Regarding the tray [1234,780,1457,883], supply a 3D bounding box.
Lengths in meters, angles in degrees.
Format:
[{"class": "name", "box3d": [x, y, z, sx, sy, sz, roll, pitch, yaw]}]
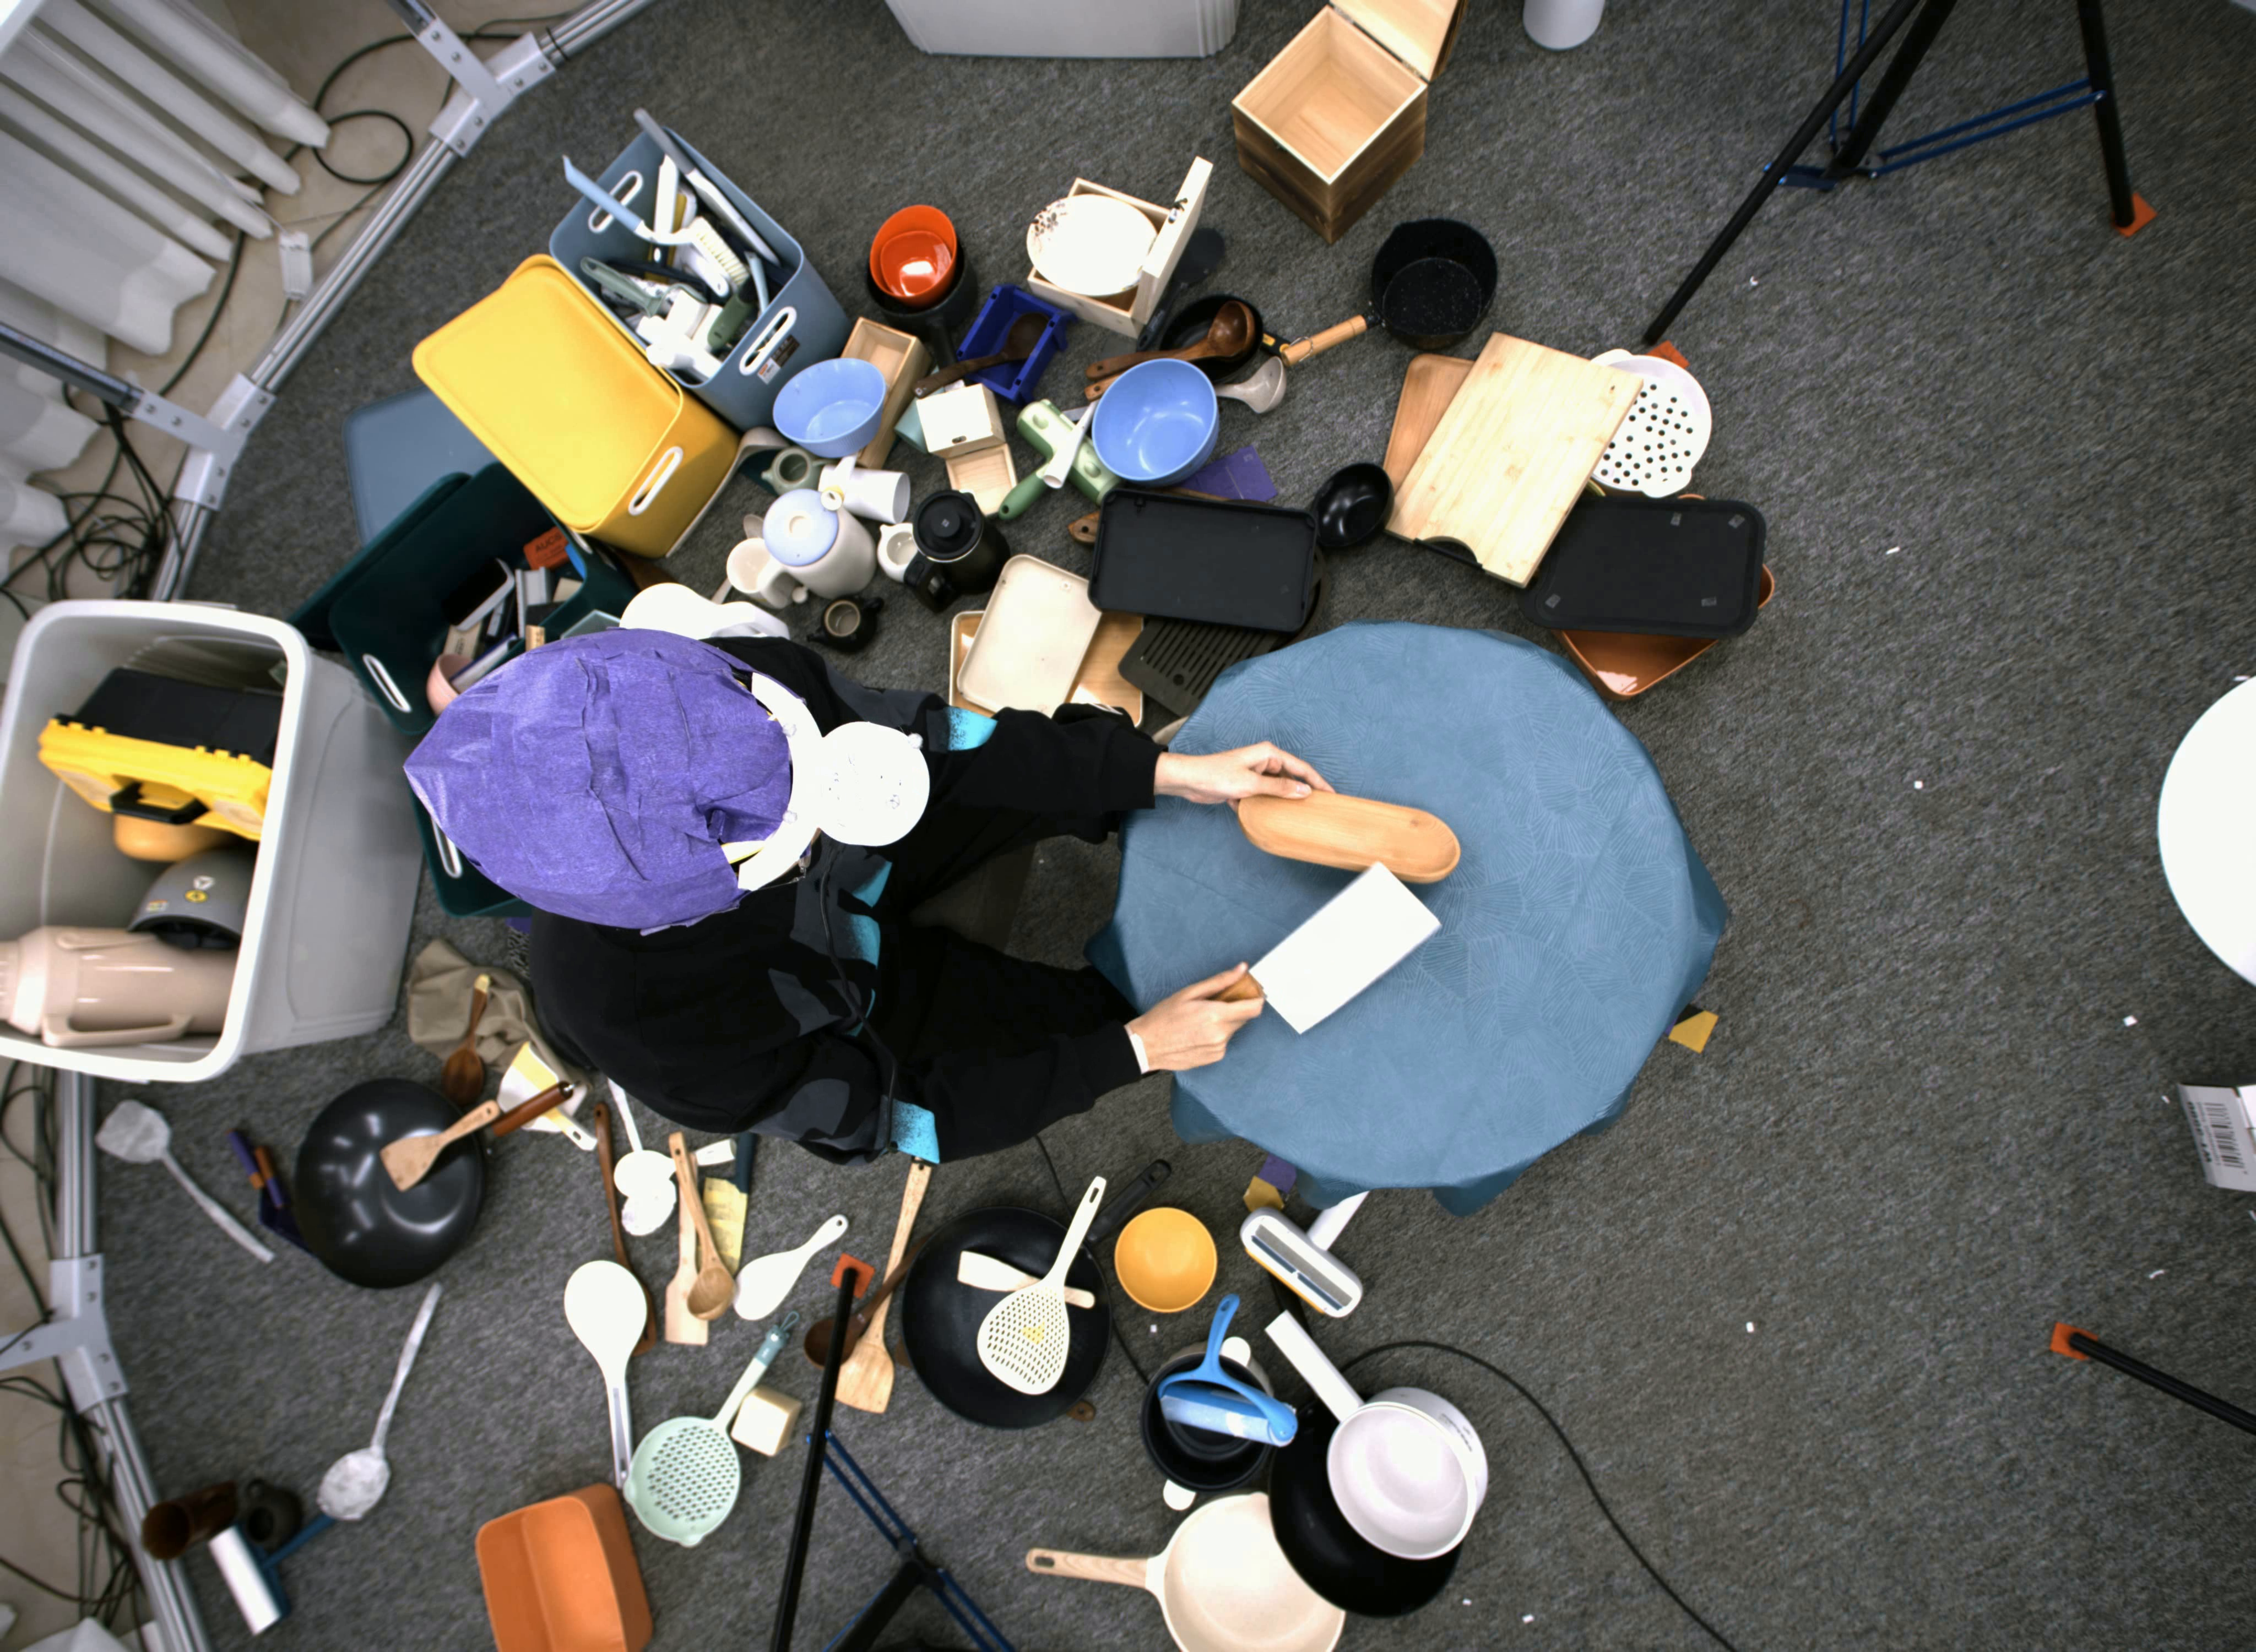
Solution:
[{"class": "tray", "box3d": [0.222, 0.005, 1.414, 0.231, 0.021, 0.099, 10, 46, 4]}]

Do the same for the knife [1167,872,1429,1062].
[{"class": "knife", "box3d": [0.175, 0.162, 1.415, 0.093, 0.020, 0.311, 44, 114, -13]}]
